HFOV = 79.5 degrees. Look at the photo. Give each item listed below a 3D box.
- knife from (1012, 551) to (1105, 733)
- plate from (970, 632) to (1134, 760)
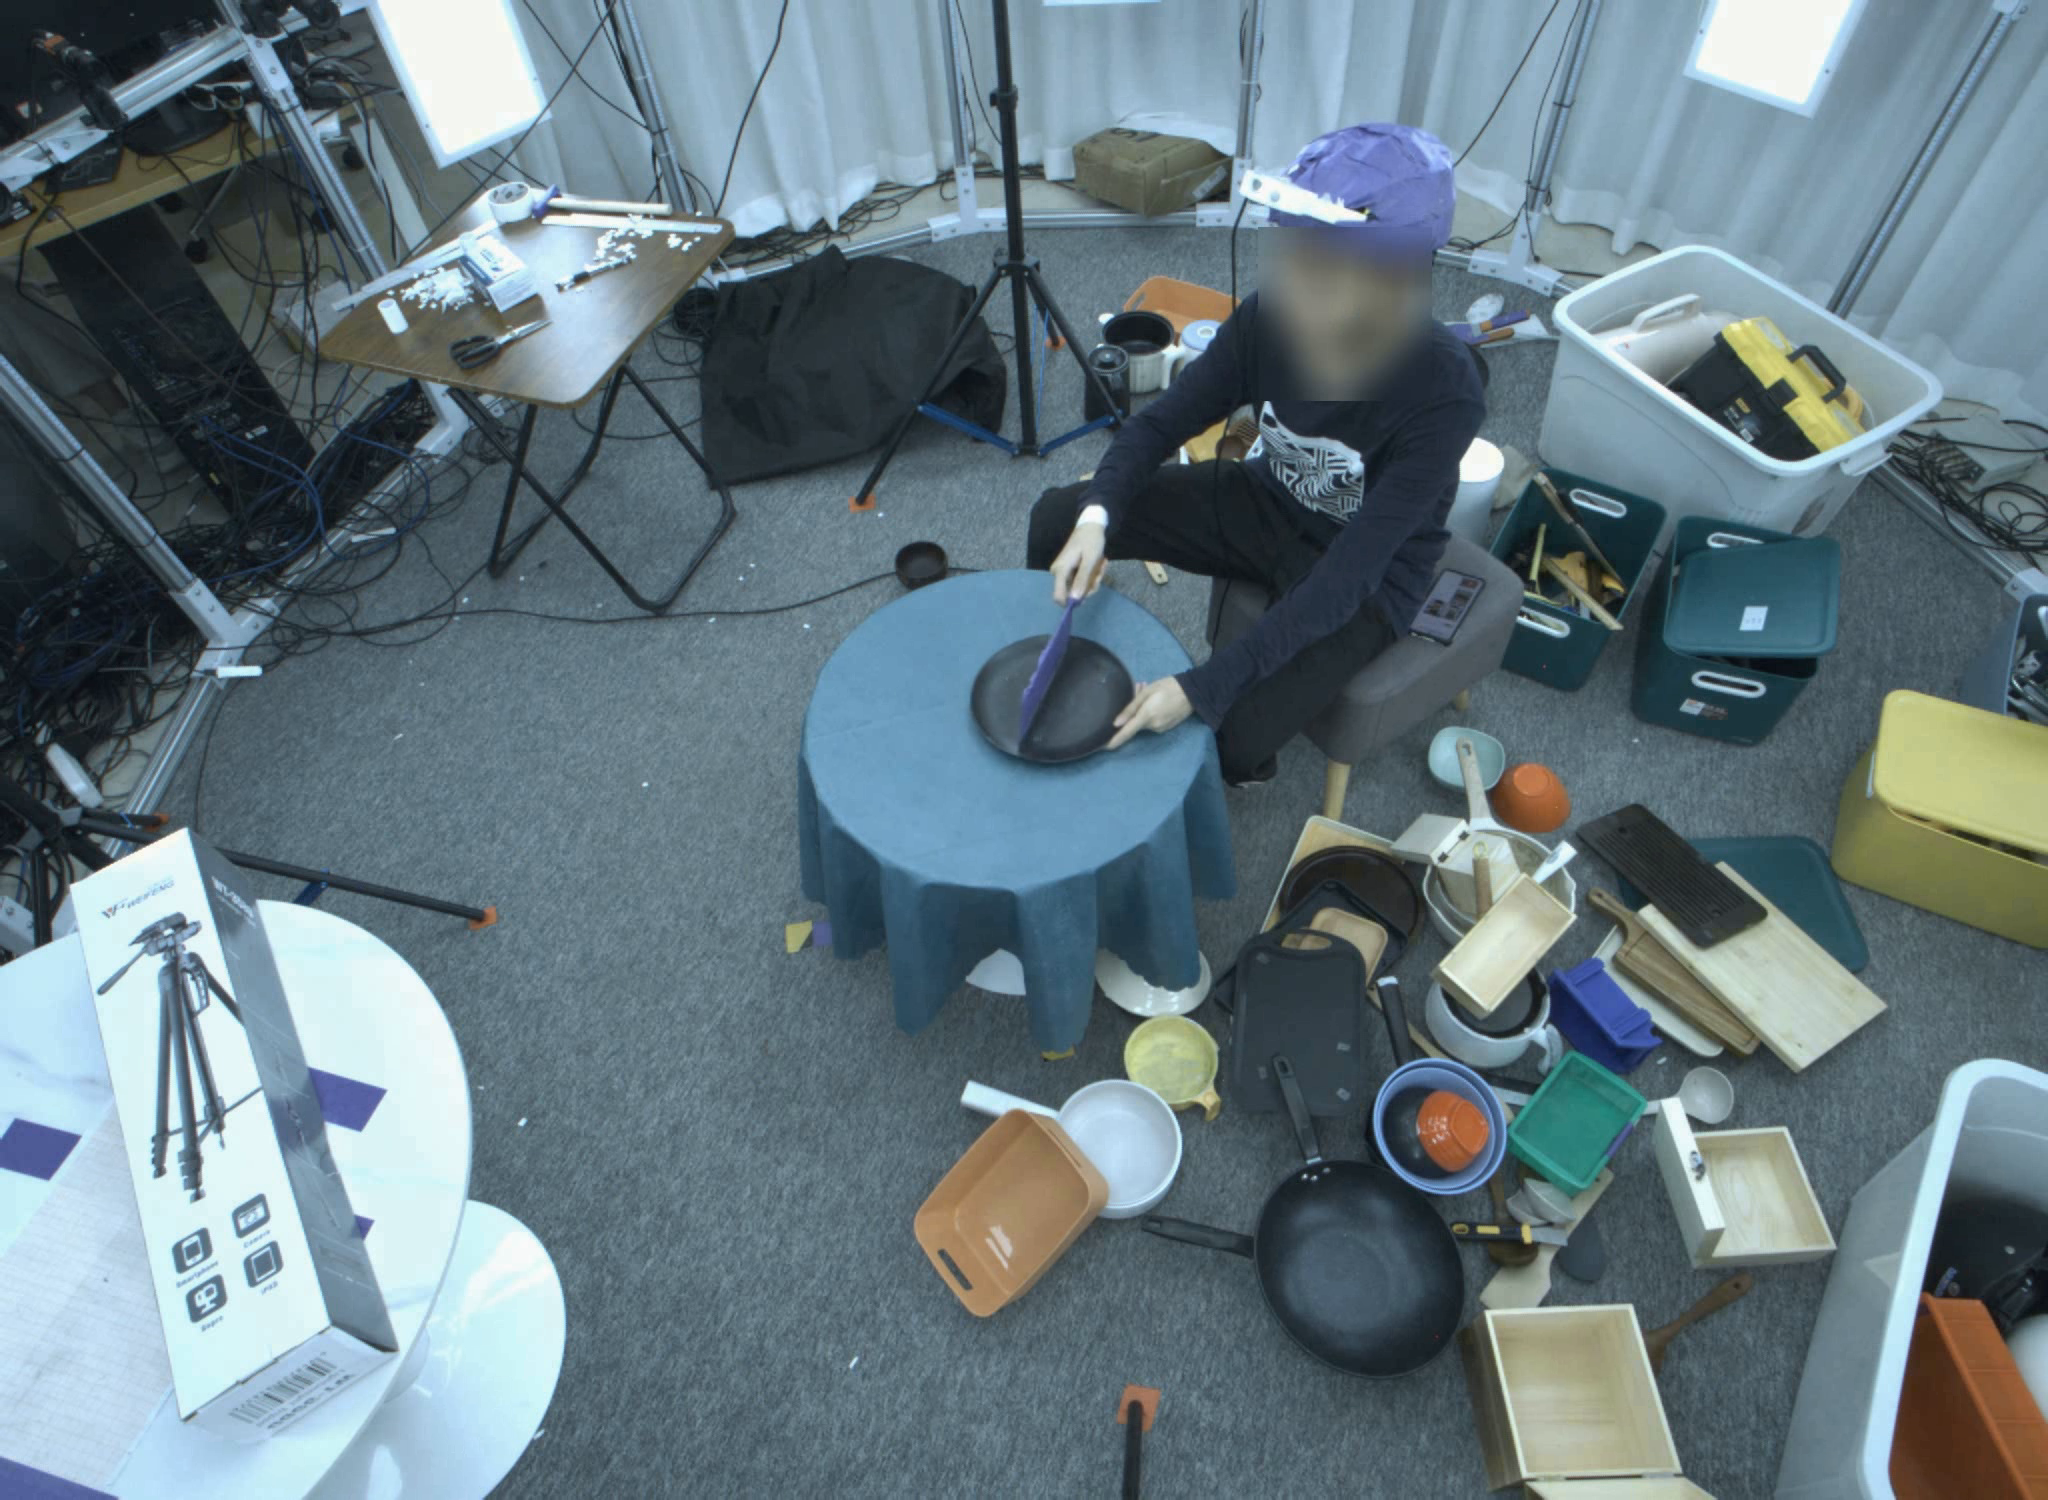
[{"bbox_3d":[0.048,-0.163,1.829,0.032,0.104,0.315,22,58,10],"label":"knife"},{"bbox_3d":[0.042,-0.078,1.834,0.244,0.024,0.242,0,54,2],"label":"plate"}]
